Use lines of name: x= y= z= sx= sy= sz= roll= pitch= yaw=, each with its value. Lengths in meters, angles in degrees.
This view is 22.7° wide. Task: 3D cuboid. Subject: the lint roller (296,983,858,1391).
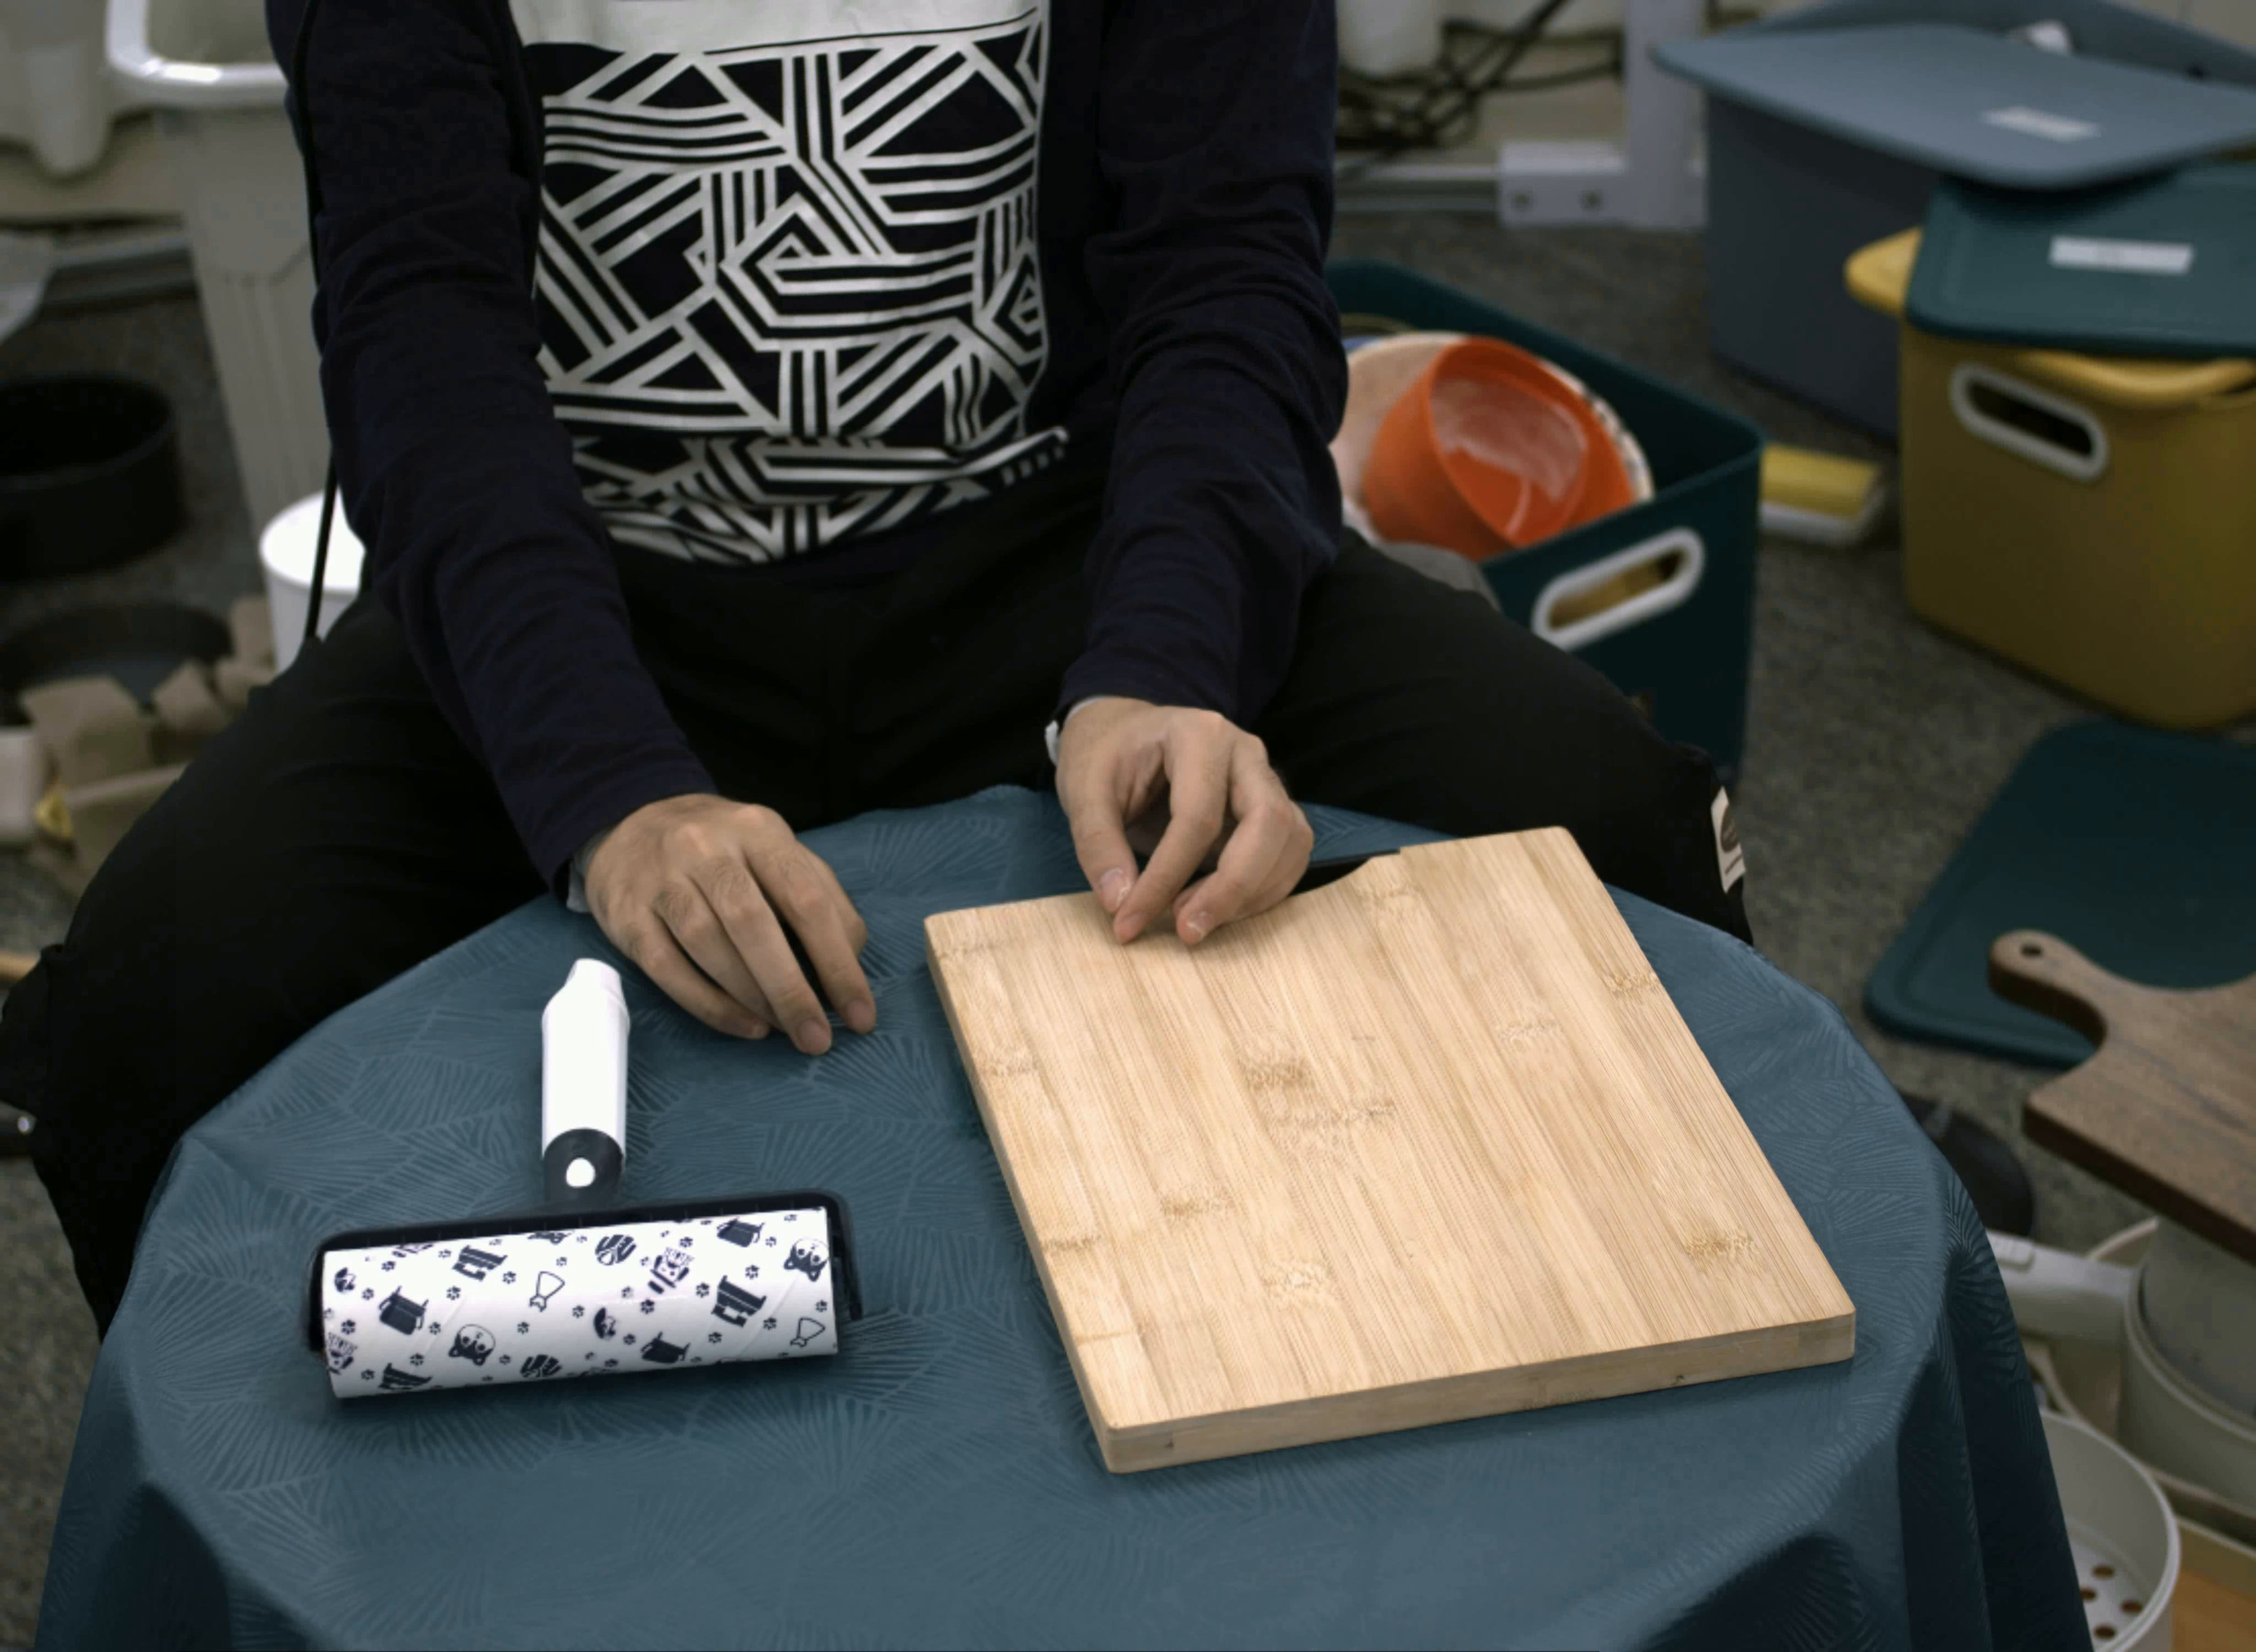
lint roller: x=-0.183 y=0.107 z=1.863 sx=0.176 sy=0.050 sz=0.250 roll=-6 pitch=25 yaw=-3

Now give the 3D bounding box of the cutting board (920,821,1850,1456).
cutting board: x=0.075 y=0.098 z=1.884 sx=0.250 sy=0.023 sz=0.352 roll=-7 pitch=27 yaw=-10
